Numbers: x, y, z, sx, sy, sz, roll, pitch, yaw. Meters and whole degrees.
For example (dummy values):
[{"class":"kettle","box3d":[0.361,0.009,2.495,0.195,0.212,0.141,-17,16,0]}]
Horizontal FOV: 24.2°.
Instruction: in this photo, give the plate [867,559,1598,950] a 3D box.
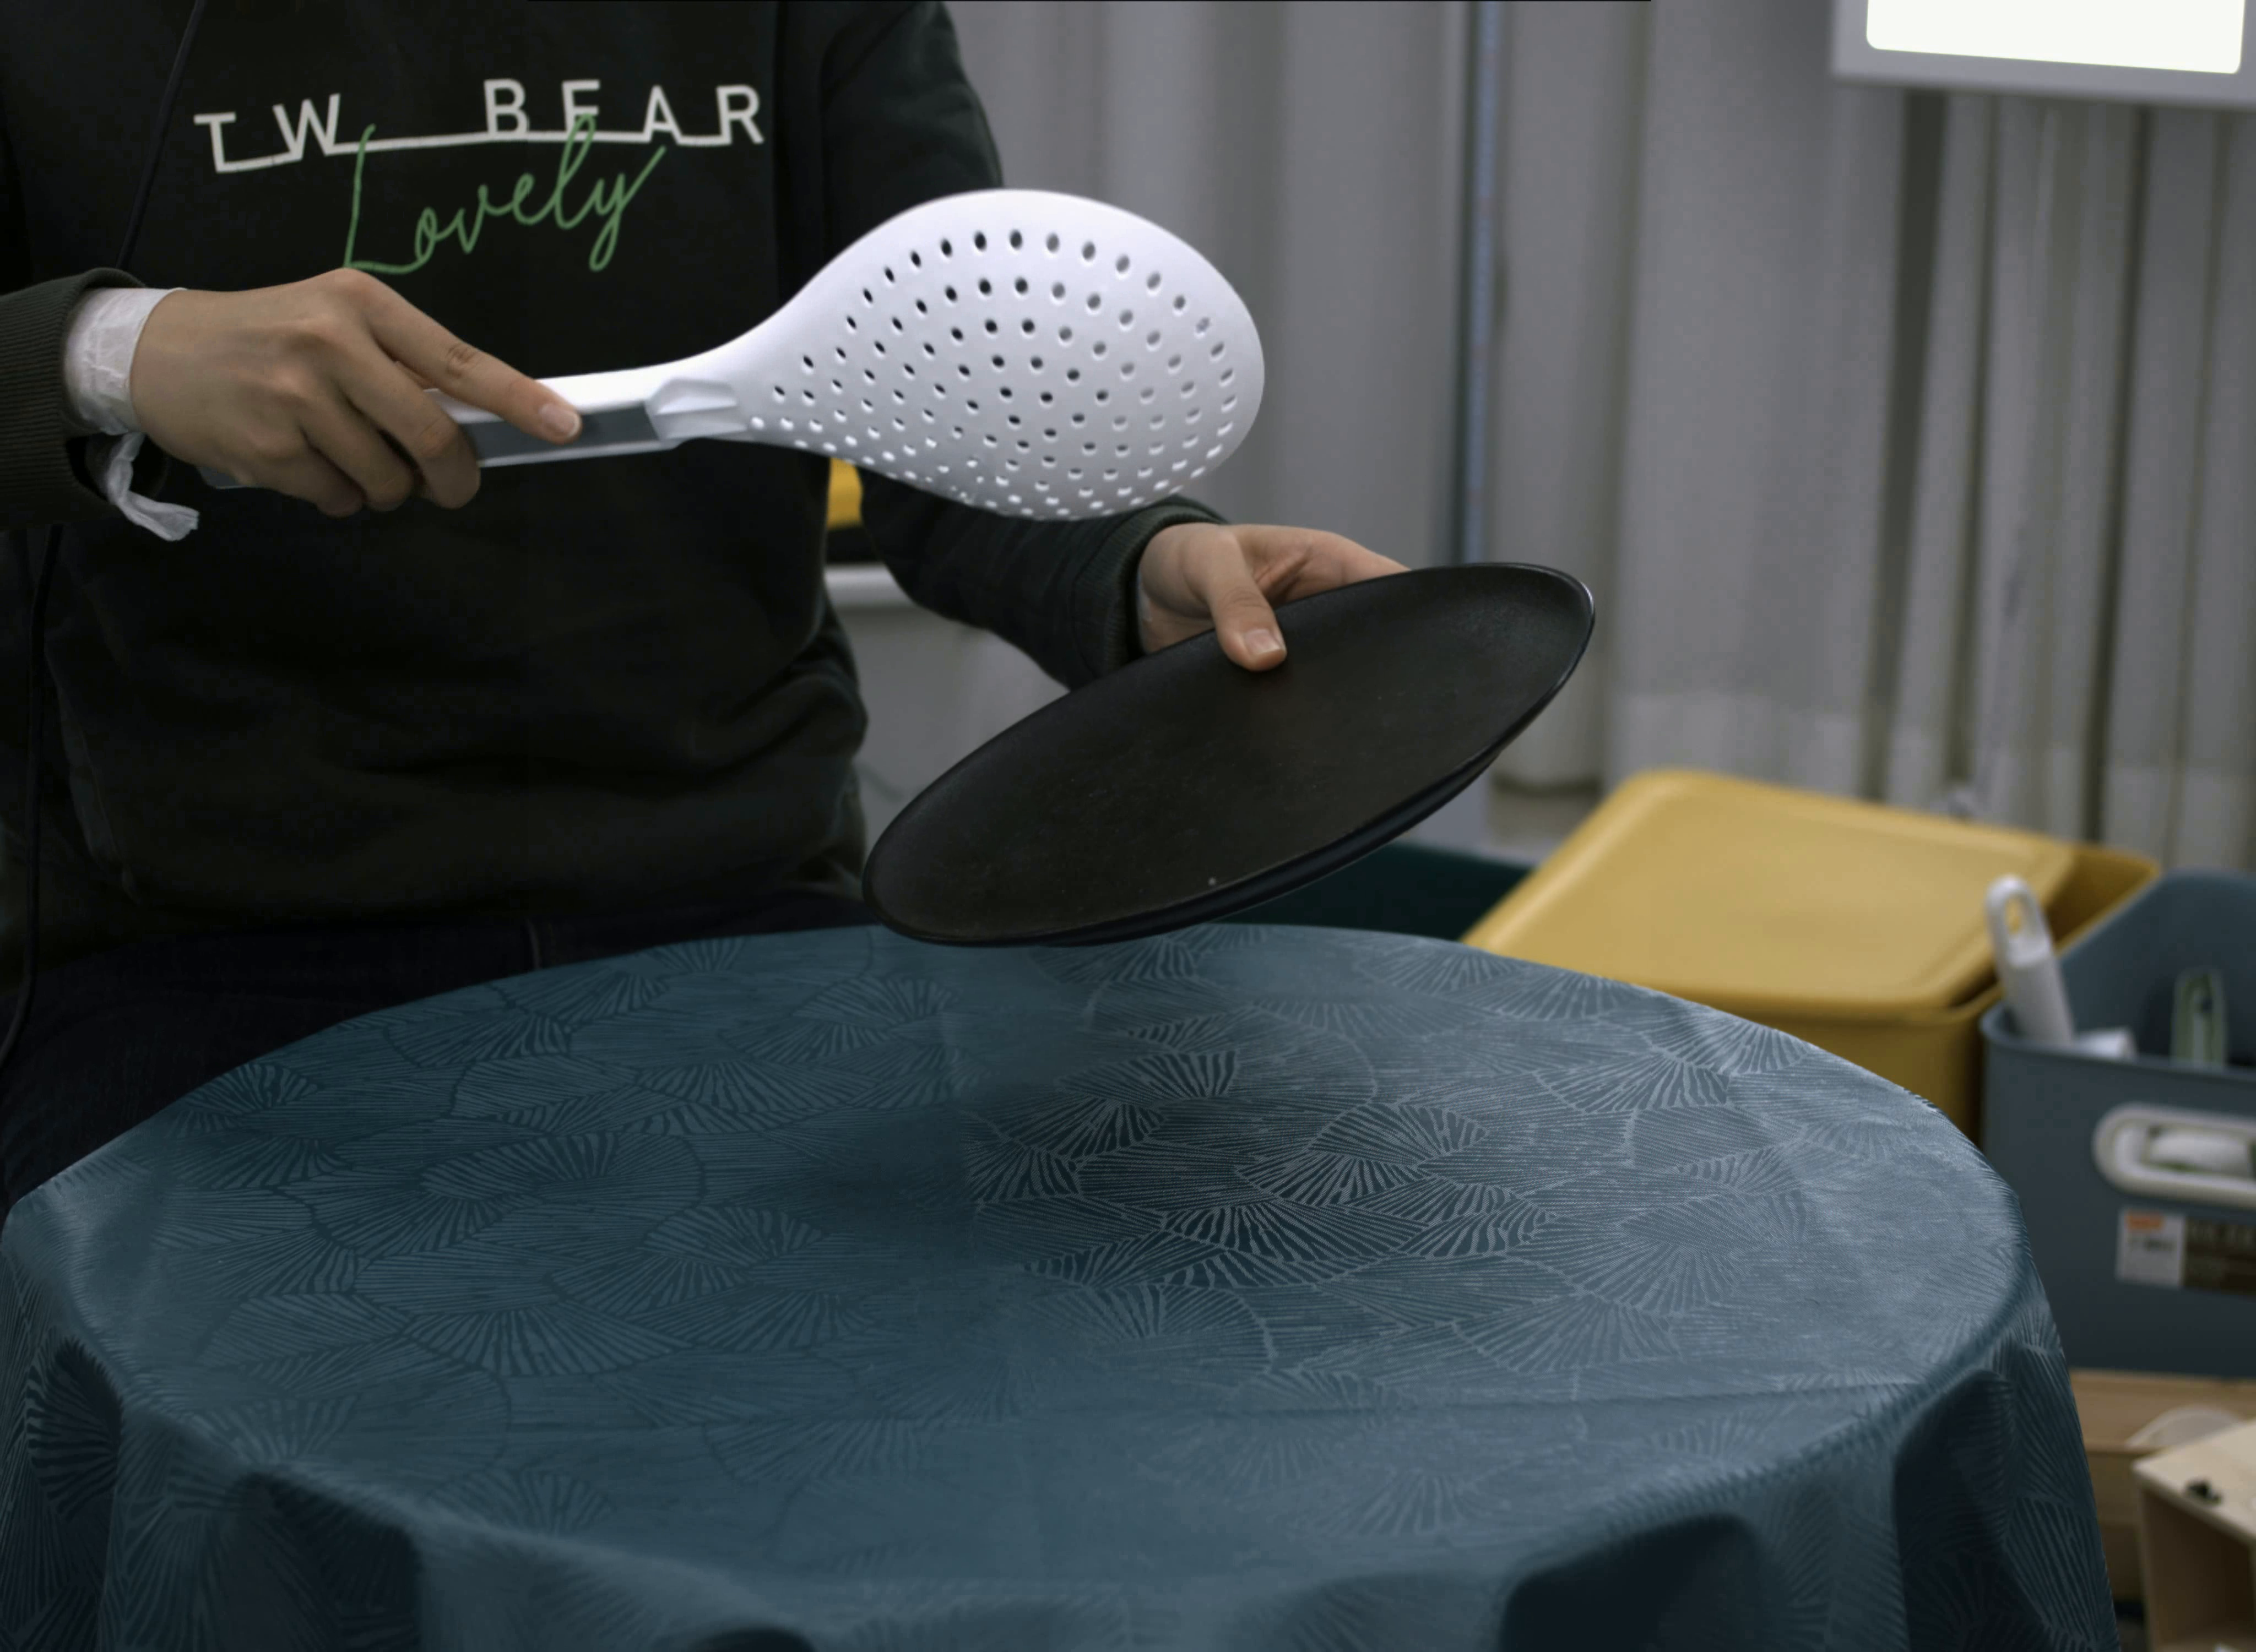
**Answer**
[{"class":"plate","box3d":[0.034,-0.016,1.625,0.243,0.023,0.243,-21,19,8]}]

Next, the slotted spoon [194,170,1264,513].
[{"class":"slotted spoon","box3d":[-0.129,-0.133,1.620,0.346,0.138,0.045,-1,48,21]}]
